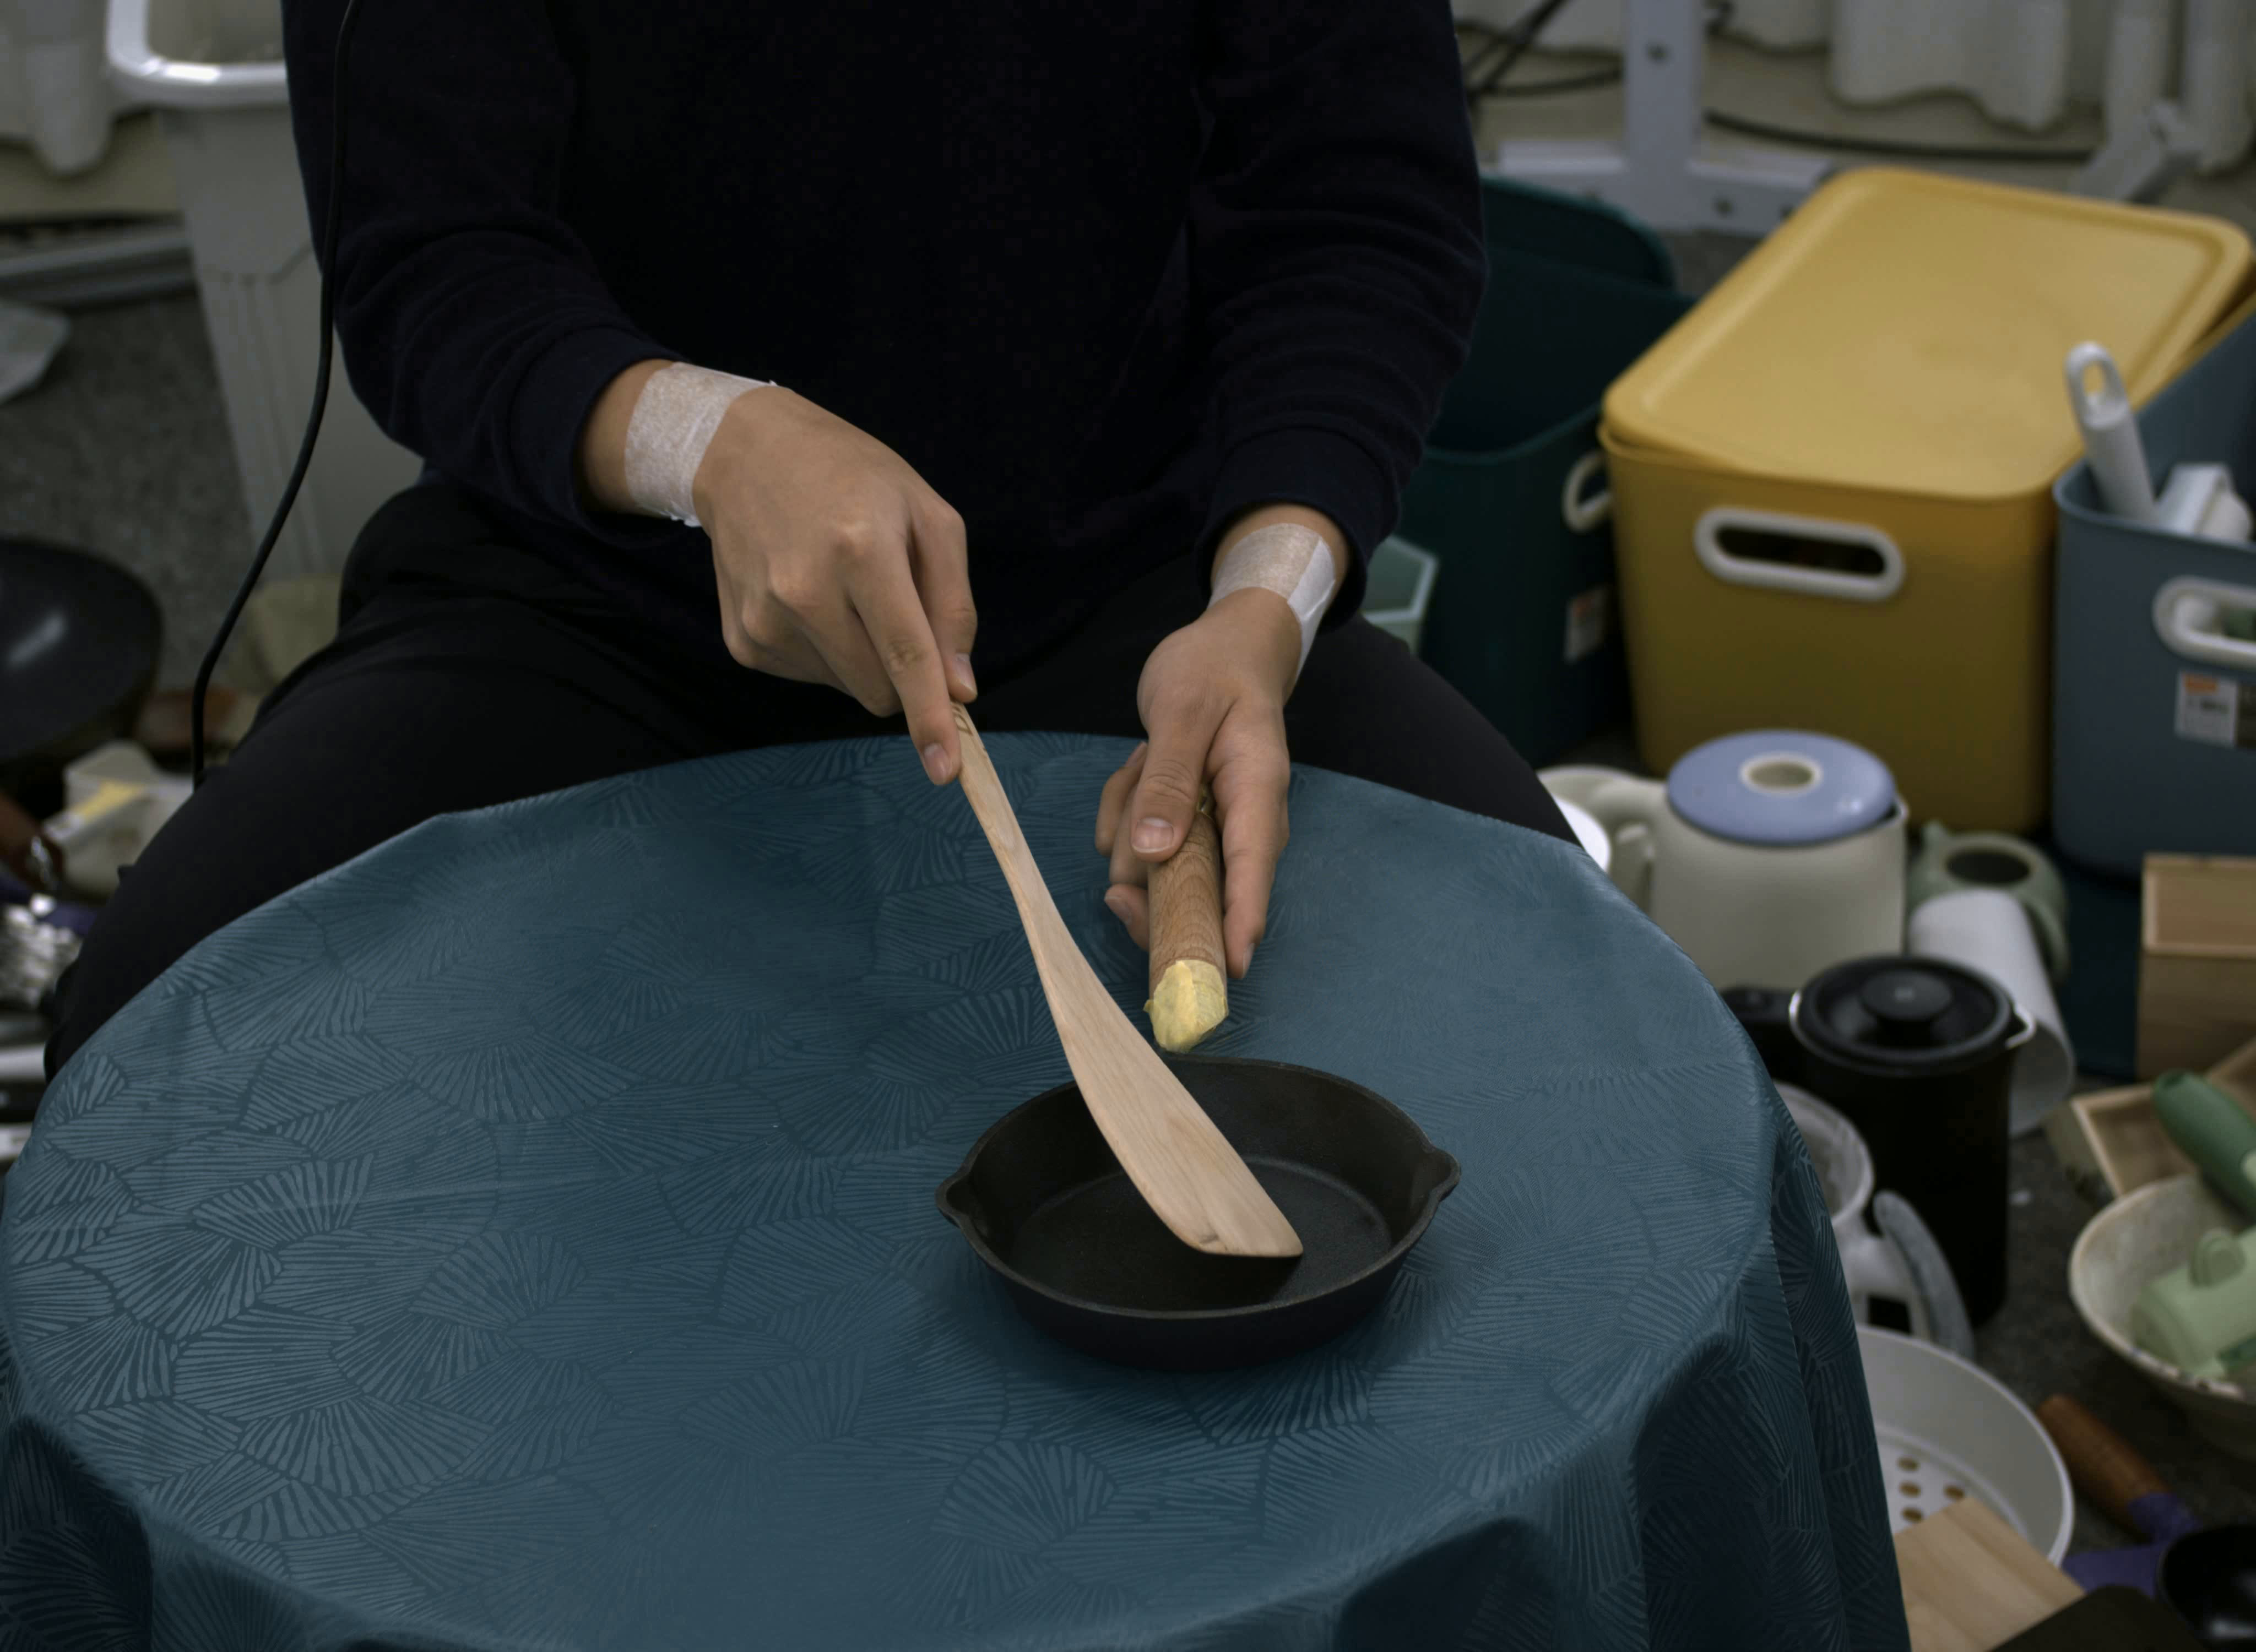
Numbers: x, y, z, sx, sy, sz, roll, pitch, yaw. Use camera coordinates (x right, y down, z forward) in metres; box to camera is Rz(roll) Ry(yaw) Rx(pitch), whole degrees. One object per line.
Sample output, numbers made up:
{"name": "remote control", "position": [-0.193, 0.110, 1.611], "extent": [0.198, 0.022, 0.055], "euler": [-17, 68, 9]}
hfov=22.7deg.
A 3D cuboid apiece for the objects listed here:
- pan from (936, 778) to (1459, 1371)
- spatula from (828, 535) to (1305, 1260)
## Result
{"name": "pan", "position": [0.024, 0.080, 1.884], "extent": [0.168, 0.049, 0.329], "euler": [-2, 29, 2]}
{"name": "spatula", "position": [-0.028, 0.021, 1.873], "extent": [0.080, 0.016, 0.332], "euler": [21, 33, -51]}
